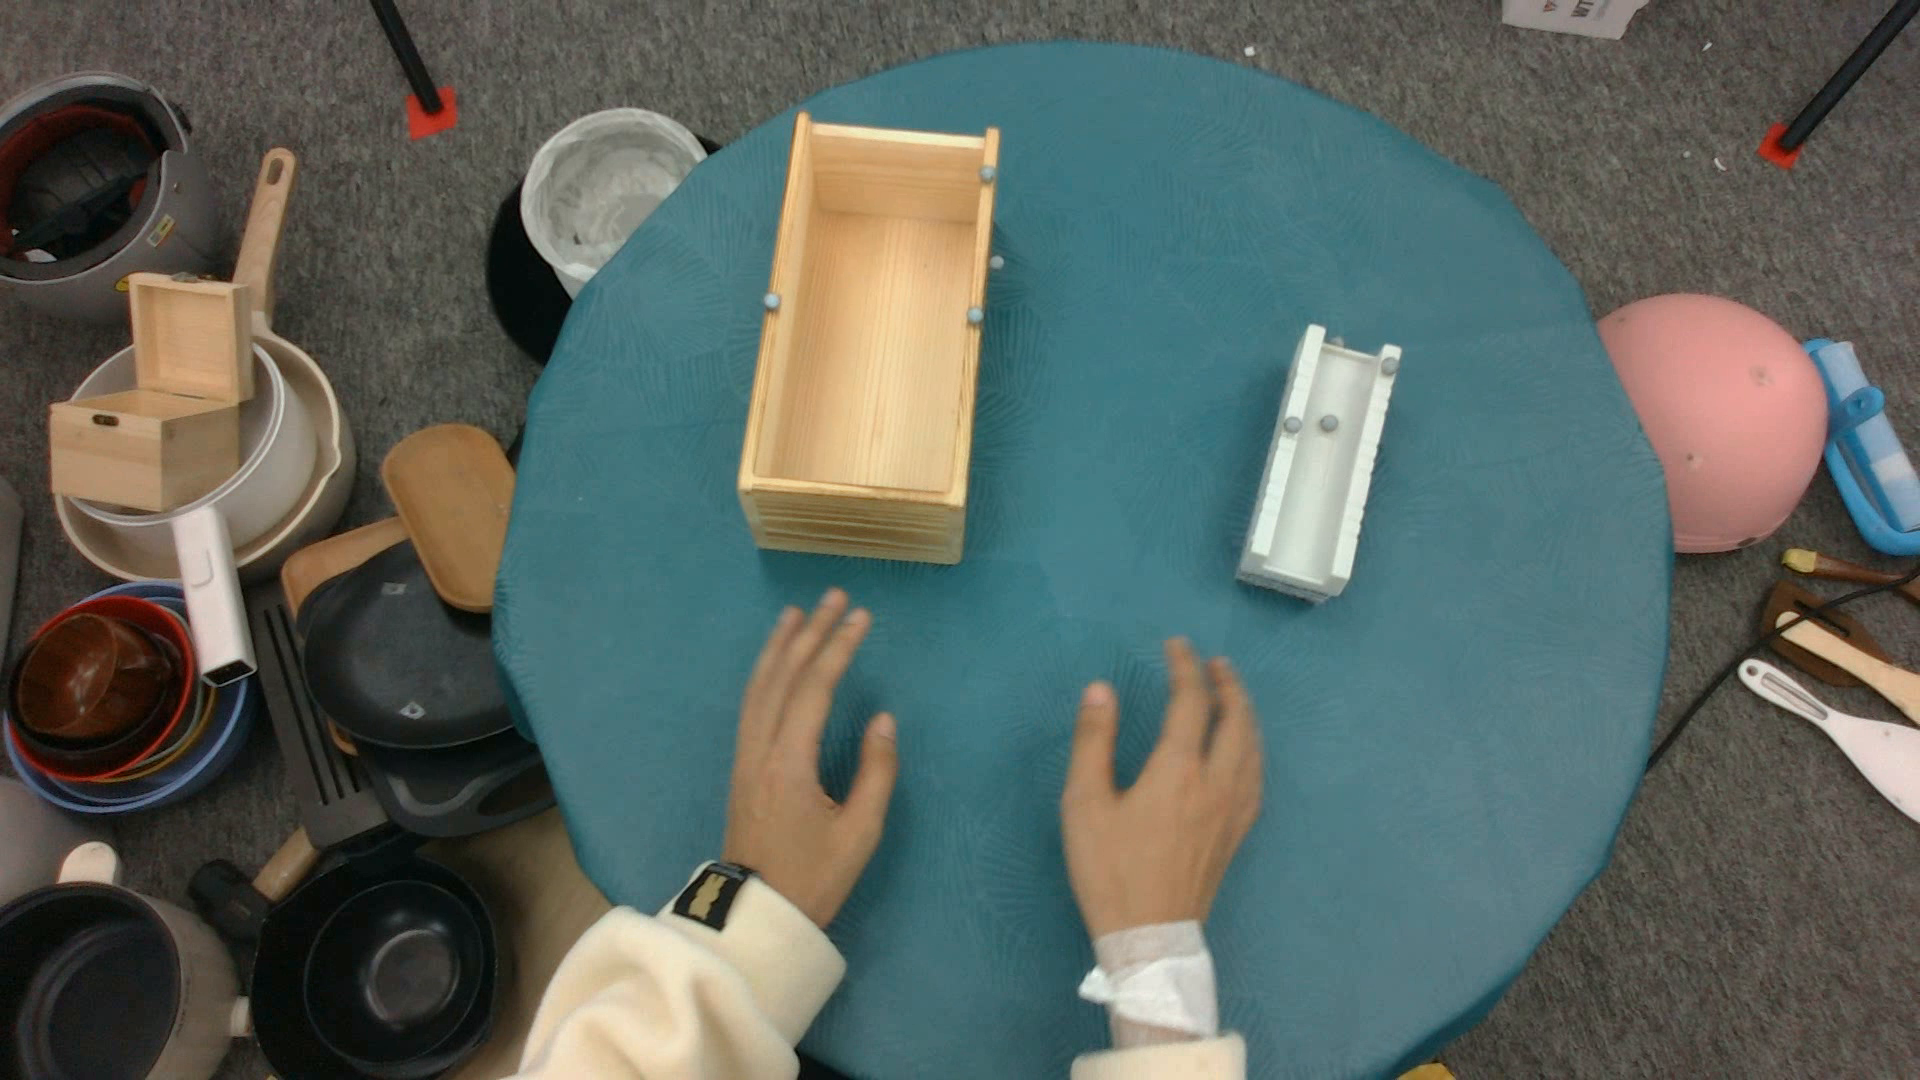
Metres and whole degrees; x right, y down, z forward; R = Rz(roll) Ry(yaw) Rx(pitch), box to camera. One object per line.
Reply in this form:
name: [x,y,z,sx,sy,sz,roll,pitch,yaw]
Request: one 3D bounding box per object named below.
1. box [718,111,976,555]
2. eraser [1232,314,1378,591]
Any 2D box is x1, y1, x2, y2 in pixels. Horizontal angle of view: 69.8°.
box: [-0.052,-0.106,0.704,0.107,0.080,0.212,4,67,0]
eraser: [0.175,-0.045,0.704,0.050,0.046,0.135,15,67,2]
